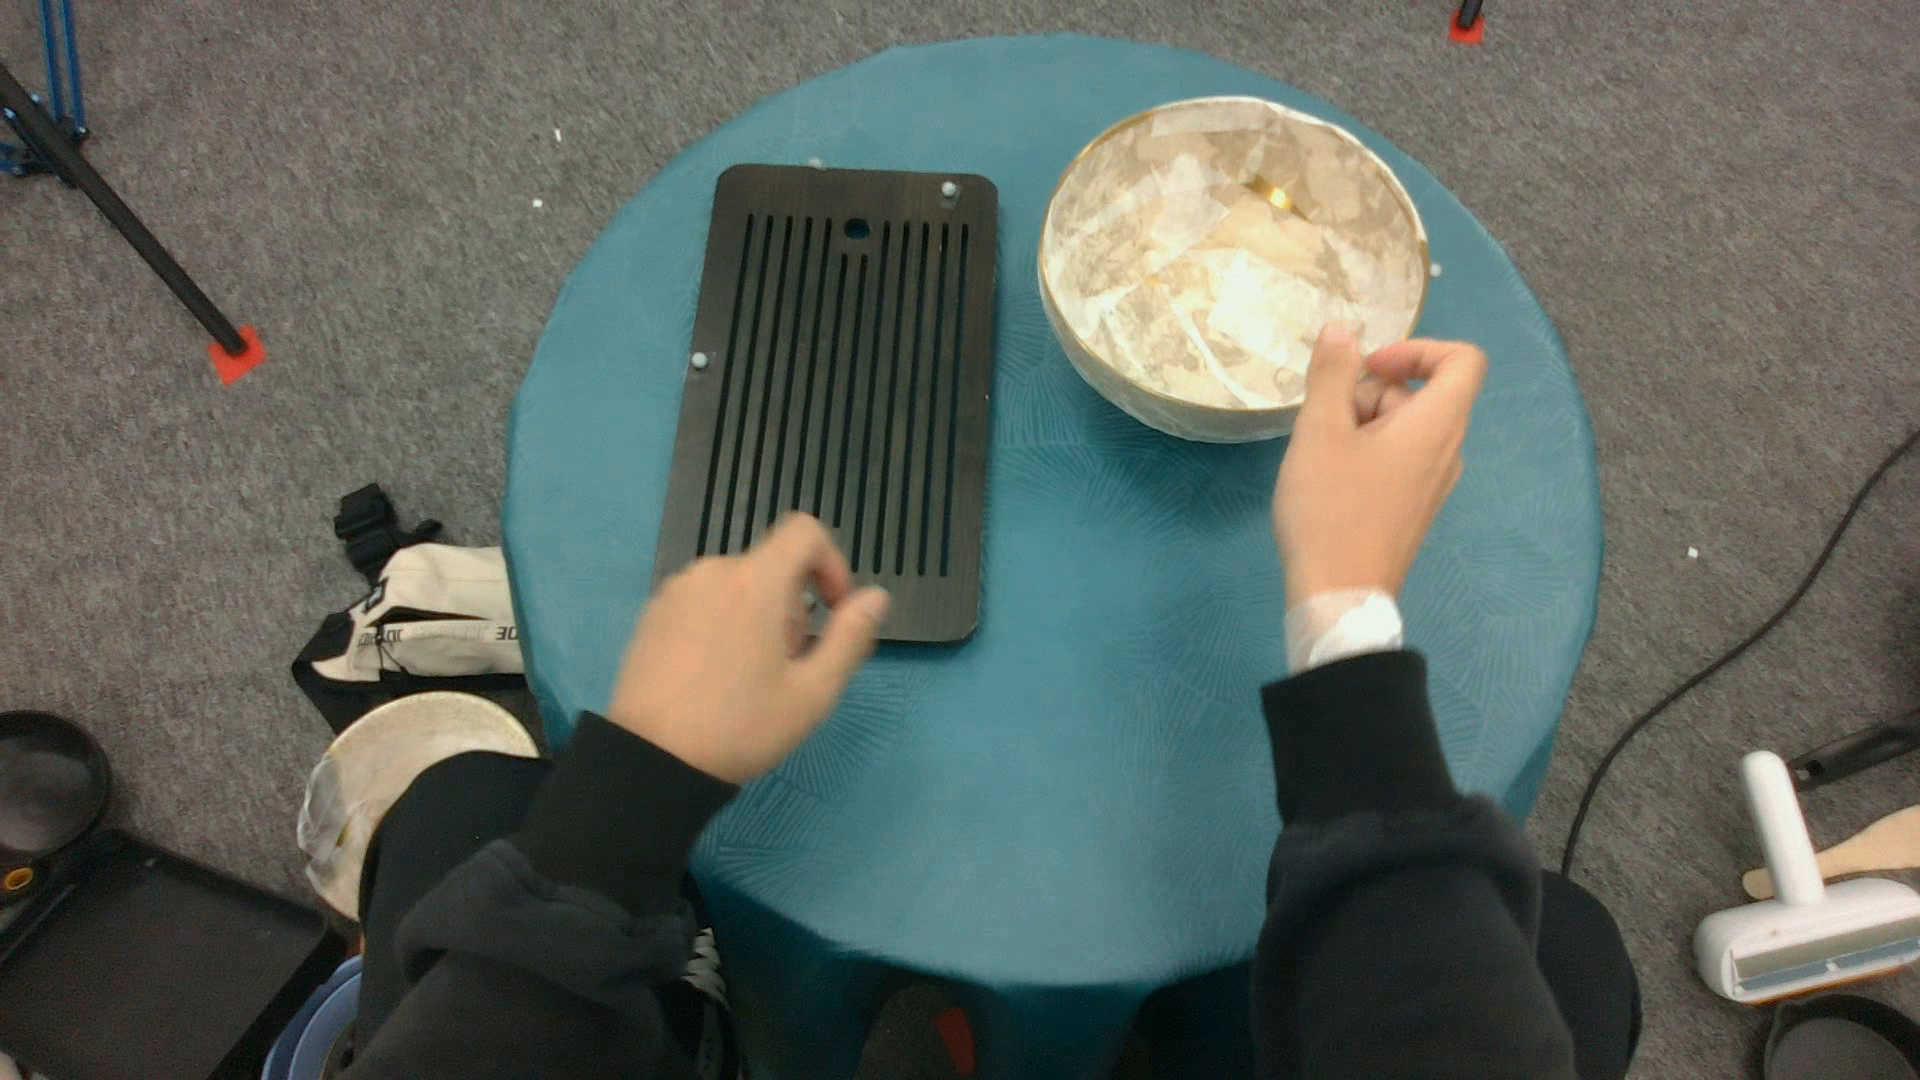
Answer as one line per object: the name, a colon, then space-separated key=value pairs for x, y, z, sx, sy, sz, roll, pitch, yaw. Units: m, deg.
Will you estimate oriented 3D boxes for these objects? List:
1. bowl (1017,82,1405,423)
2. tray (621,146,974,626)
bowl: x=0.126 y=-0.141 z=0.751 sx=0.215 sy=0.094 sz=0.215 roll=1 pitch=64 yaw=-2
tray: x=-0.082 y=-0.095 z=0.766 sx=0.170 sy=0.018 sz=0.307 roll=2 pitch=63 yaw=0
